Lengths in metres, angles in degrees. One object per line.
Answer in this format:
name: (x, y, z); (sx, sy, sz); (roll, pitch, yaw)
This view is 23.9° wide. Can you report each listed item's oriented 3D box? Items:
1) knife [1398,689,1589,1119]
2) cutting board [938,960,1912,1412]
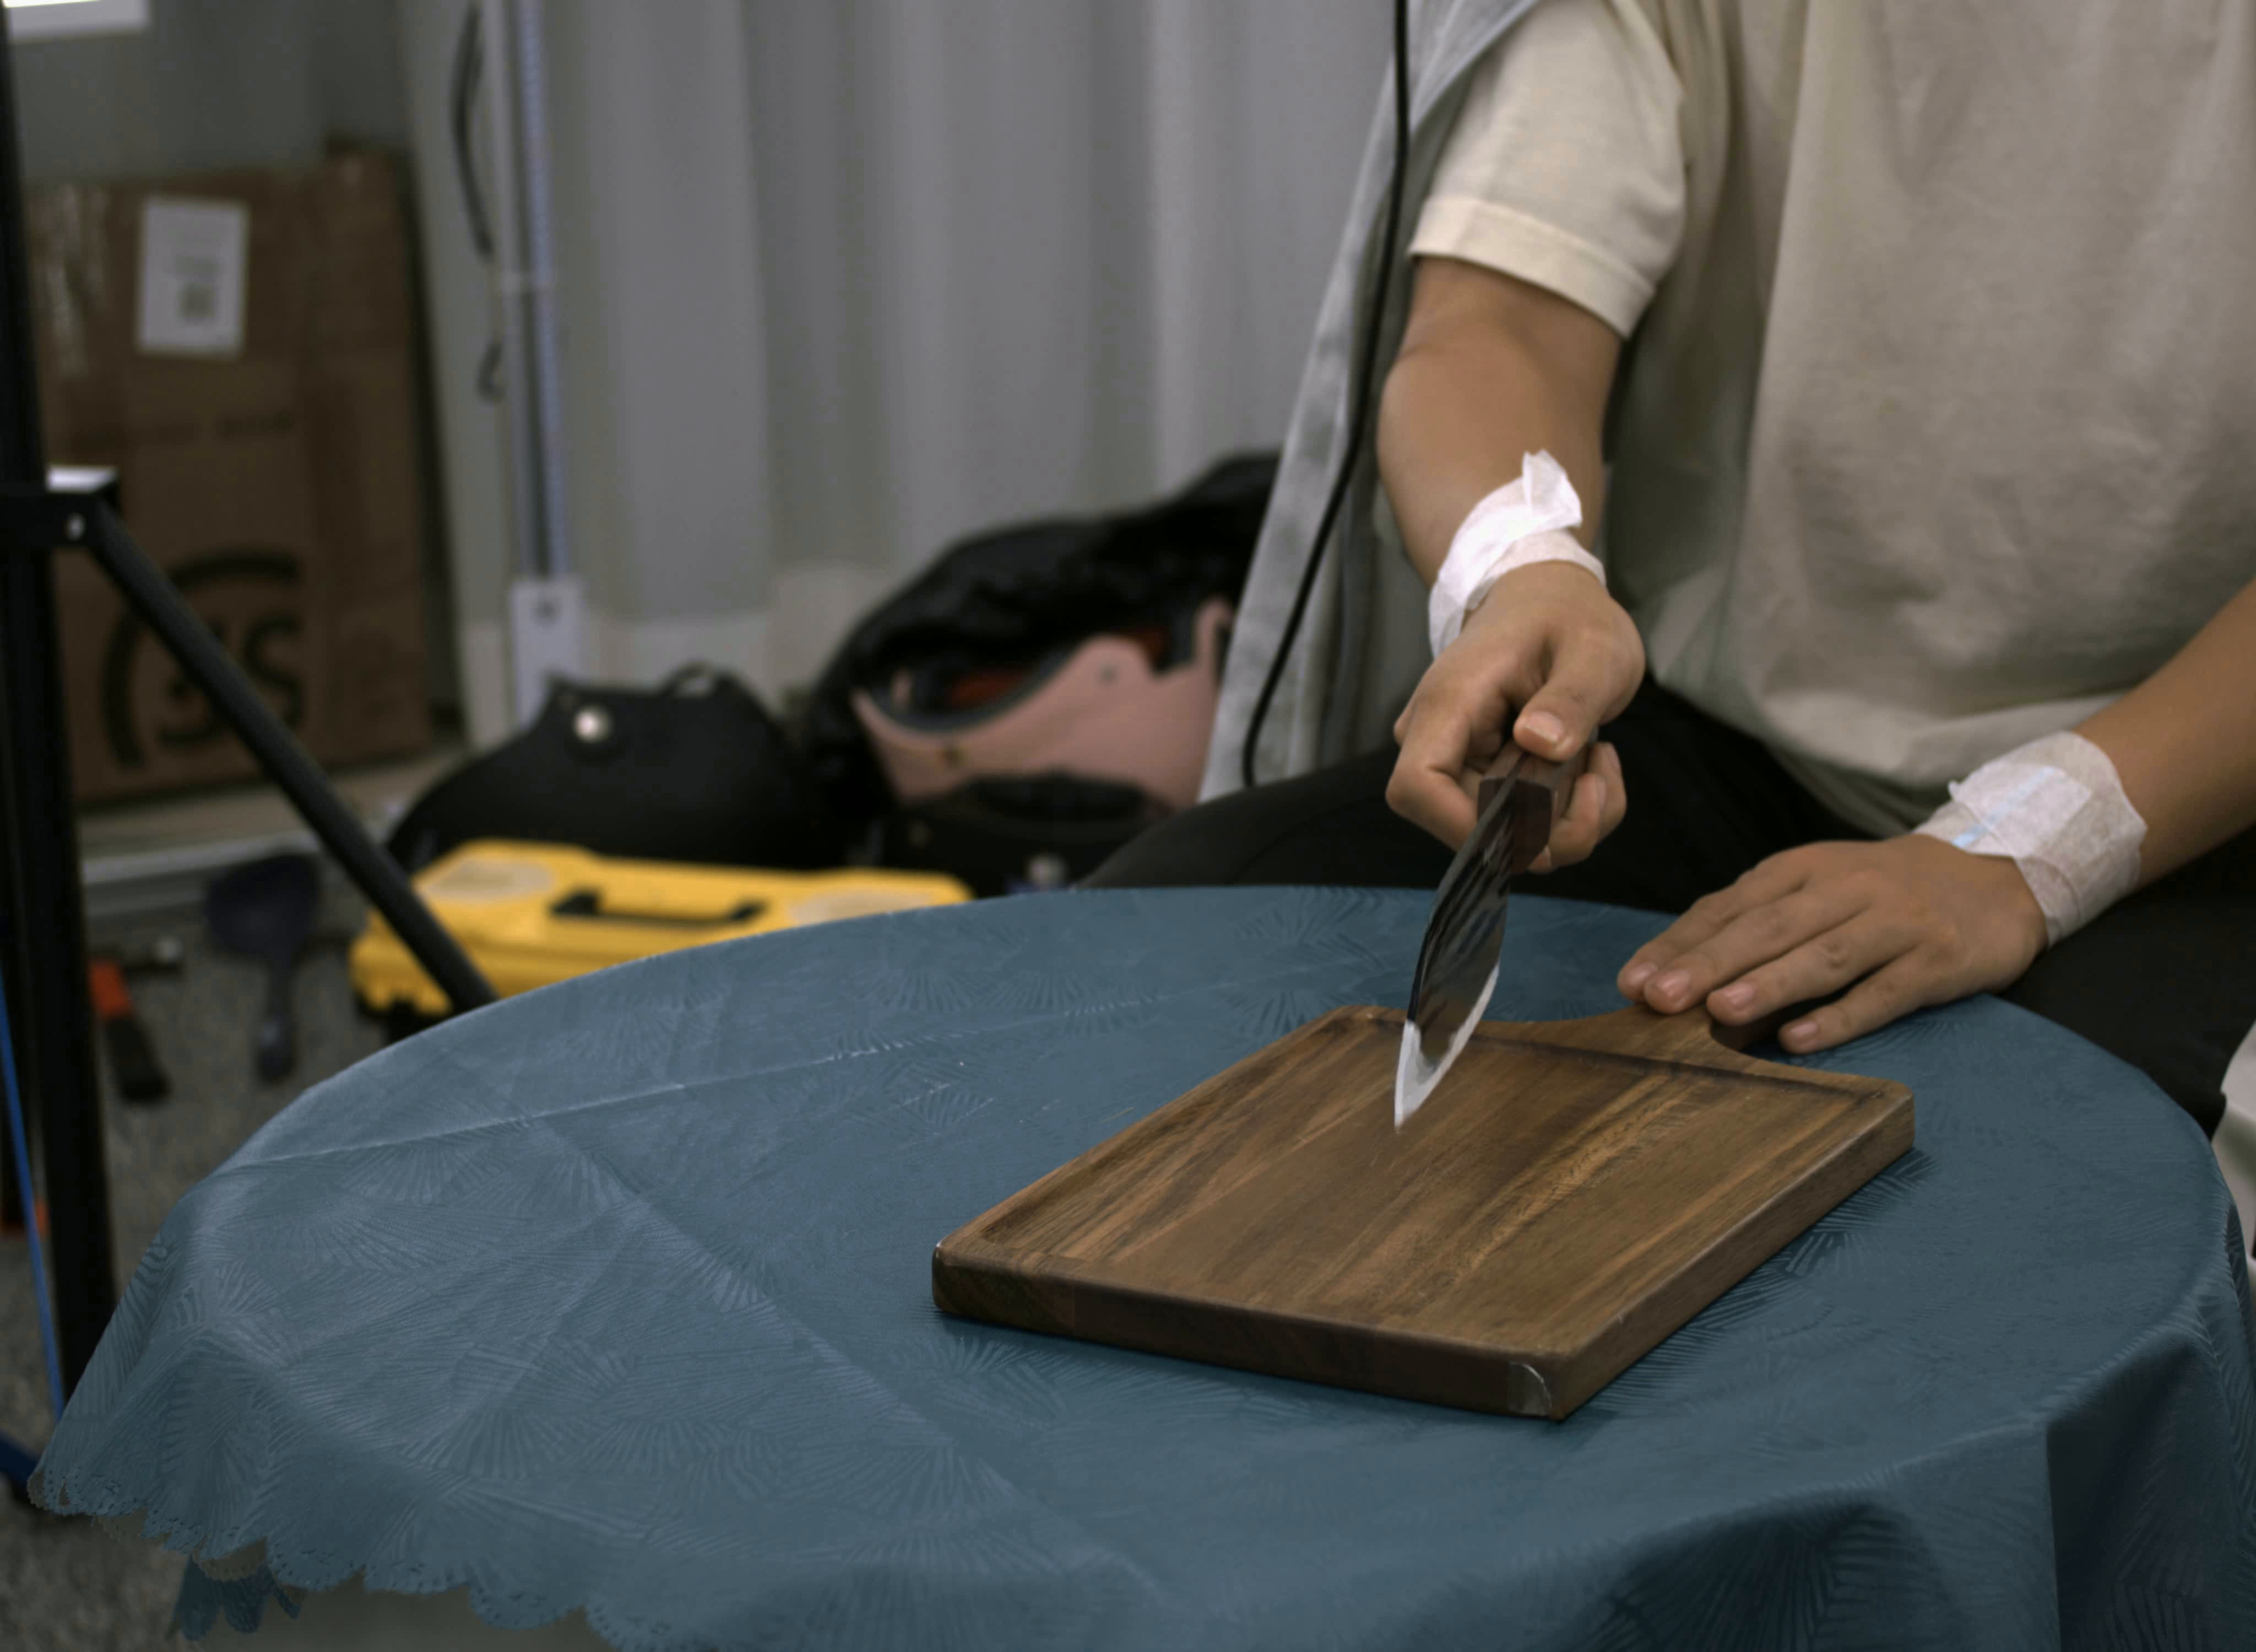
knife: (0.107, 0.020, 1.583); (0.024, 0.068, 0.297); (7, 16, 11)
cutting board: (0.114, 0.095, 1.554); (0.204, 0.023, 0.346); (5, 16, 30)
